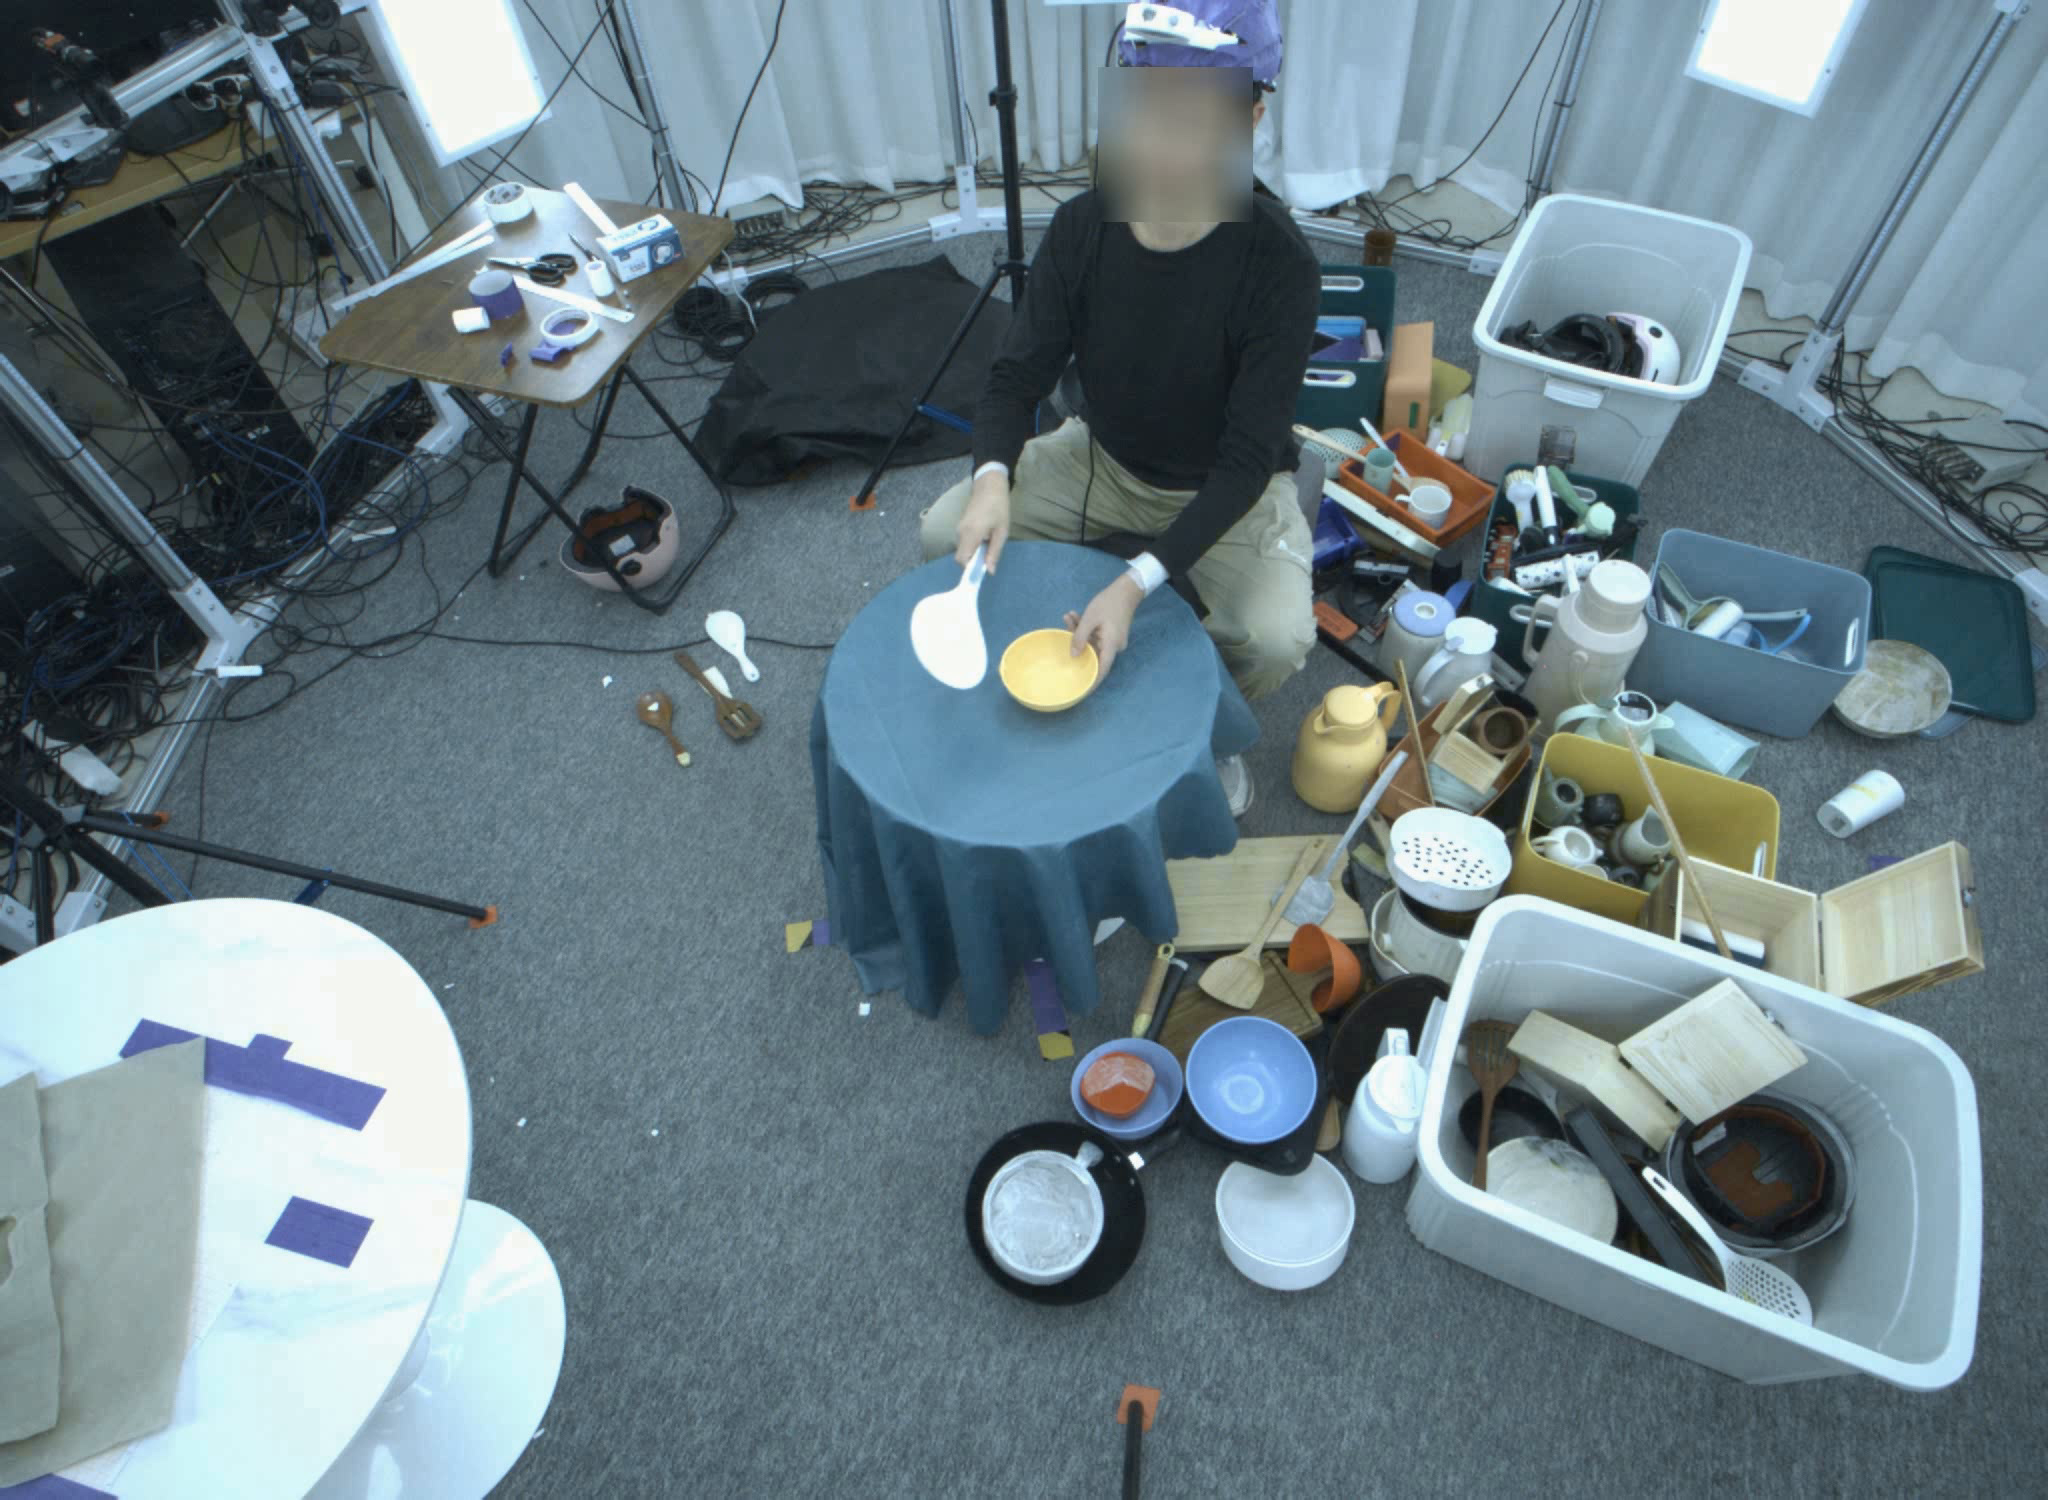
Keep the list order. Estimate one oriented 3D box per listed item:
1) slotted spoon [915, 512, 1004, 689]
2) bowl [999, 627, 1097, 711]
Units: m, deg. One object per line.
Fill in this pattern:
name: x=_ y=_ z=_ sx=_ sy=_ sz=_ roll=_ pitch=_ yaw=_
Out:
slotted spoon: x=-0.080 y=-0.226 z=1.759 sx=0.045 sy=0.139 sz=0.348 roll=-19 pitch=40 yaw=41
bowl: x=0.037 y=-0.108 z=1.828 sx=0.145 sy=0.061 sz=0.144 roll=0 pitch=57 yaw=1
